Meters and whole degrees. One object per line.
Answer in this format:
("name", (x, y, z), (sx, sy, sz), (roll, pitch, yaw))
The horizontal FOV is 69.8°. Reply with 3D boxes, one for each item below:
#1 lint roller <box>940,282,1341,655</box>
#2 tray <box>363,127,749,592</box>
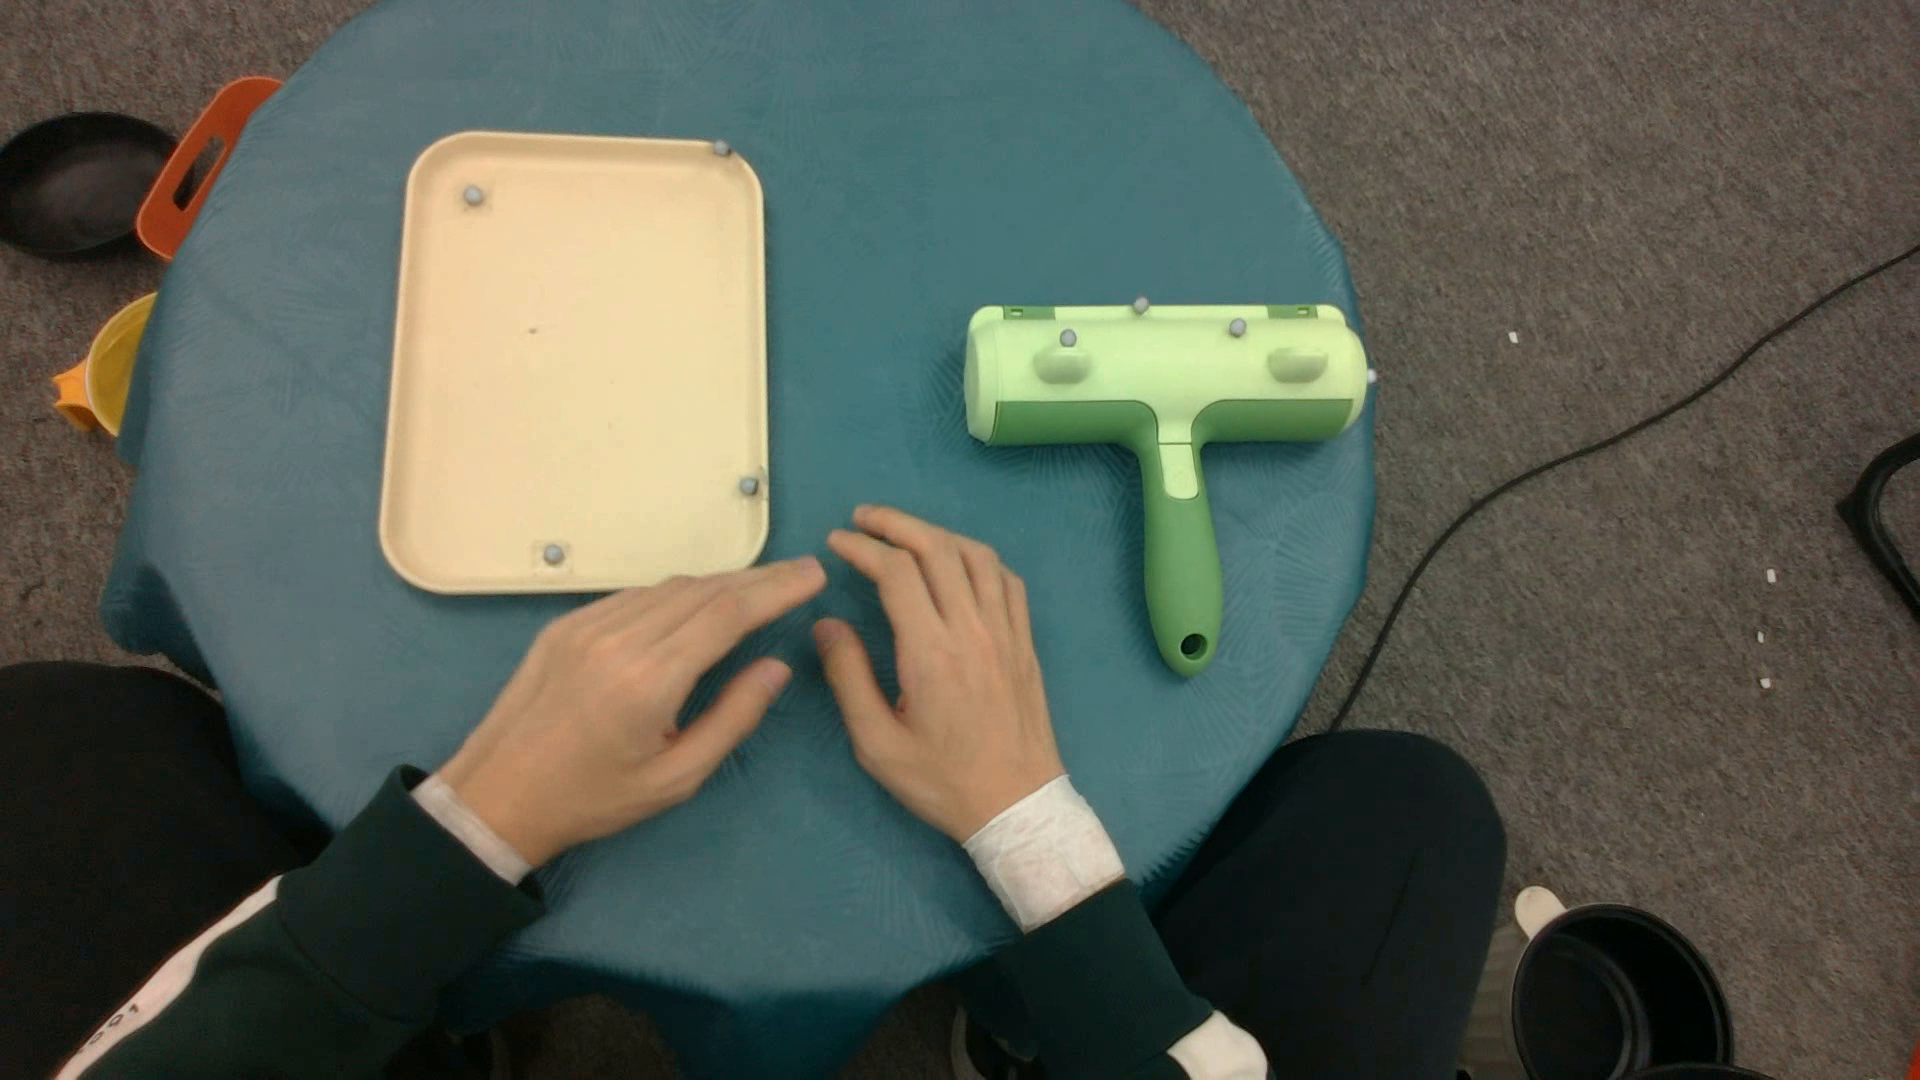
("lint roller", (0.096, -0.042, 0.657), (0.199, 0.082, 0.184), (-2, 67, -10))
("tray", (-0.191, -0.092, 0.657), (0.171, 0.017, 0.240), (-3, 71, -10))
